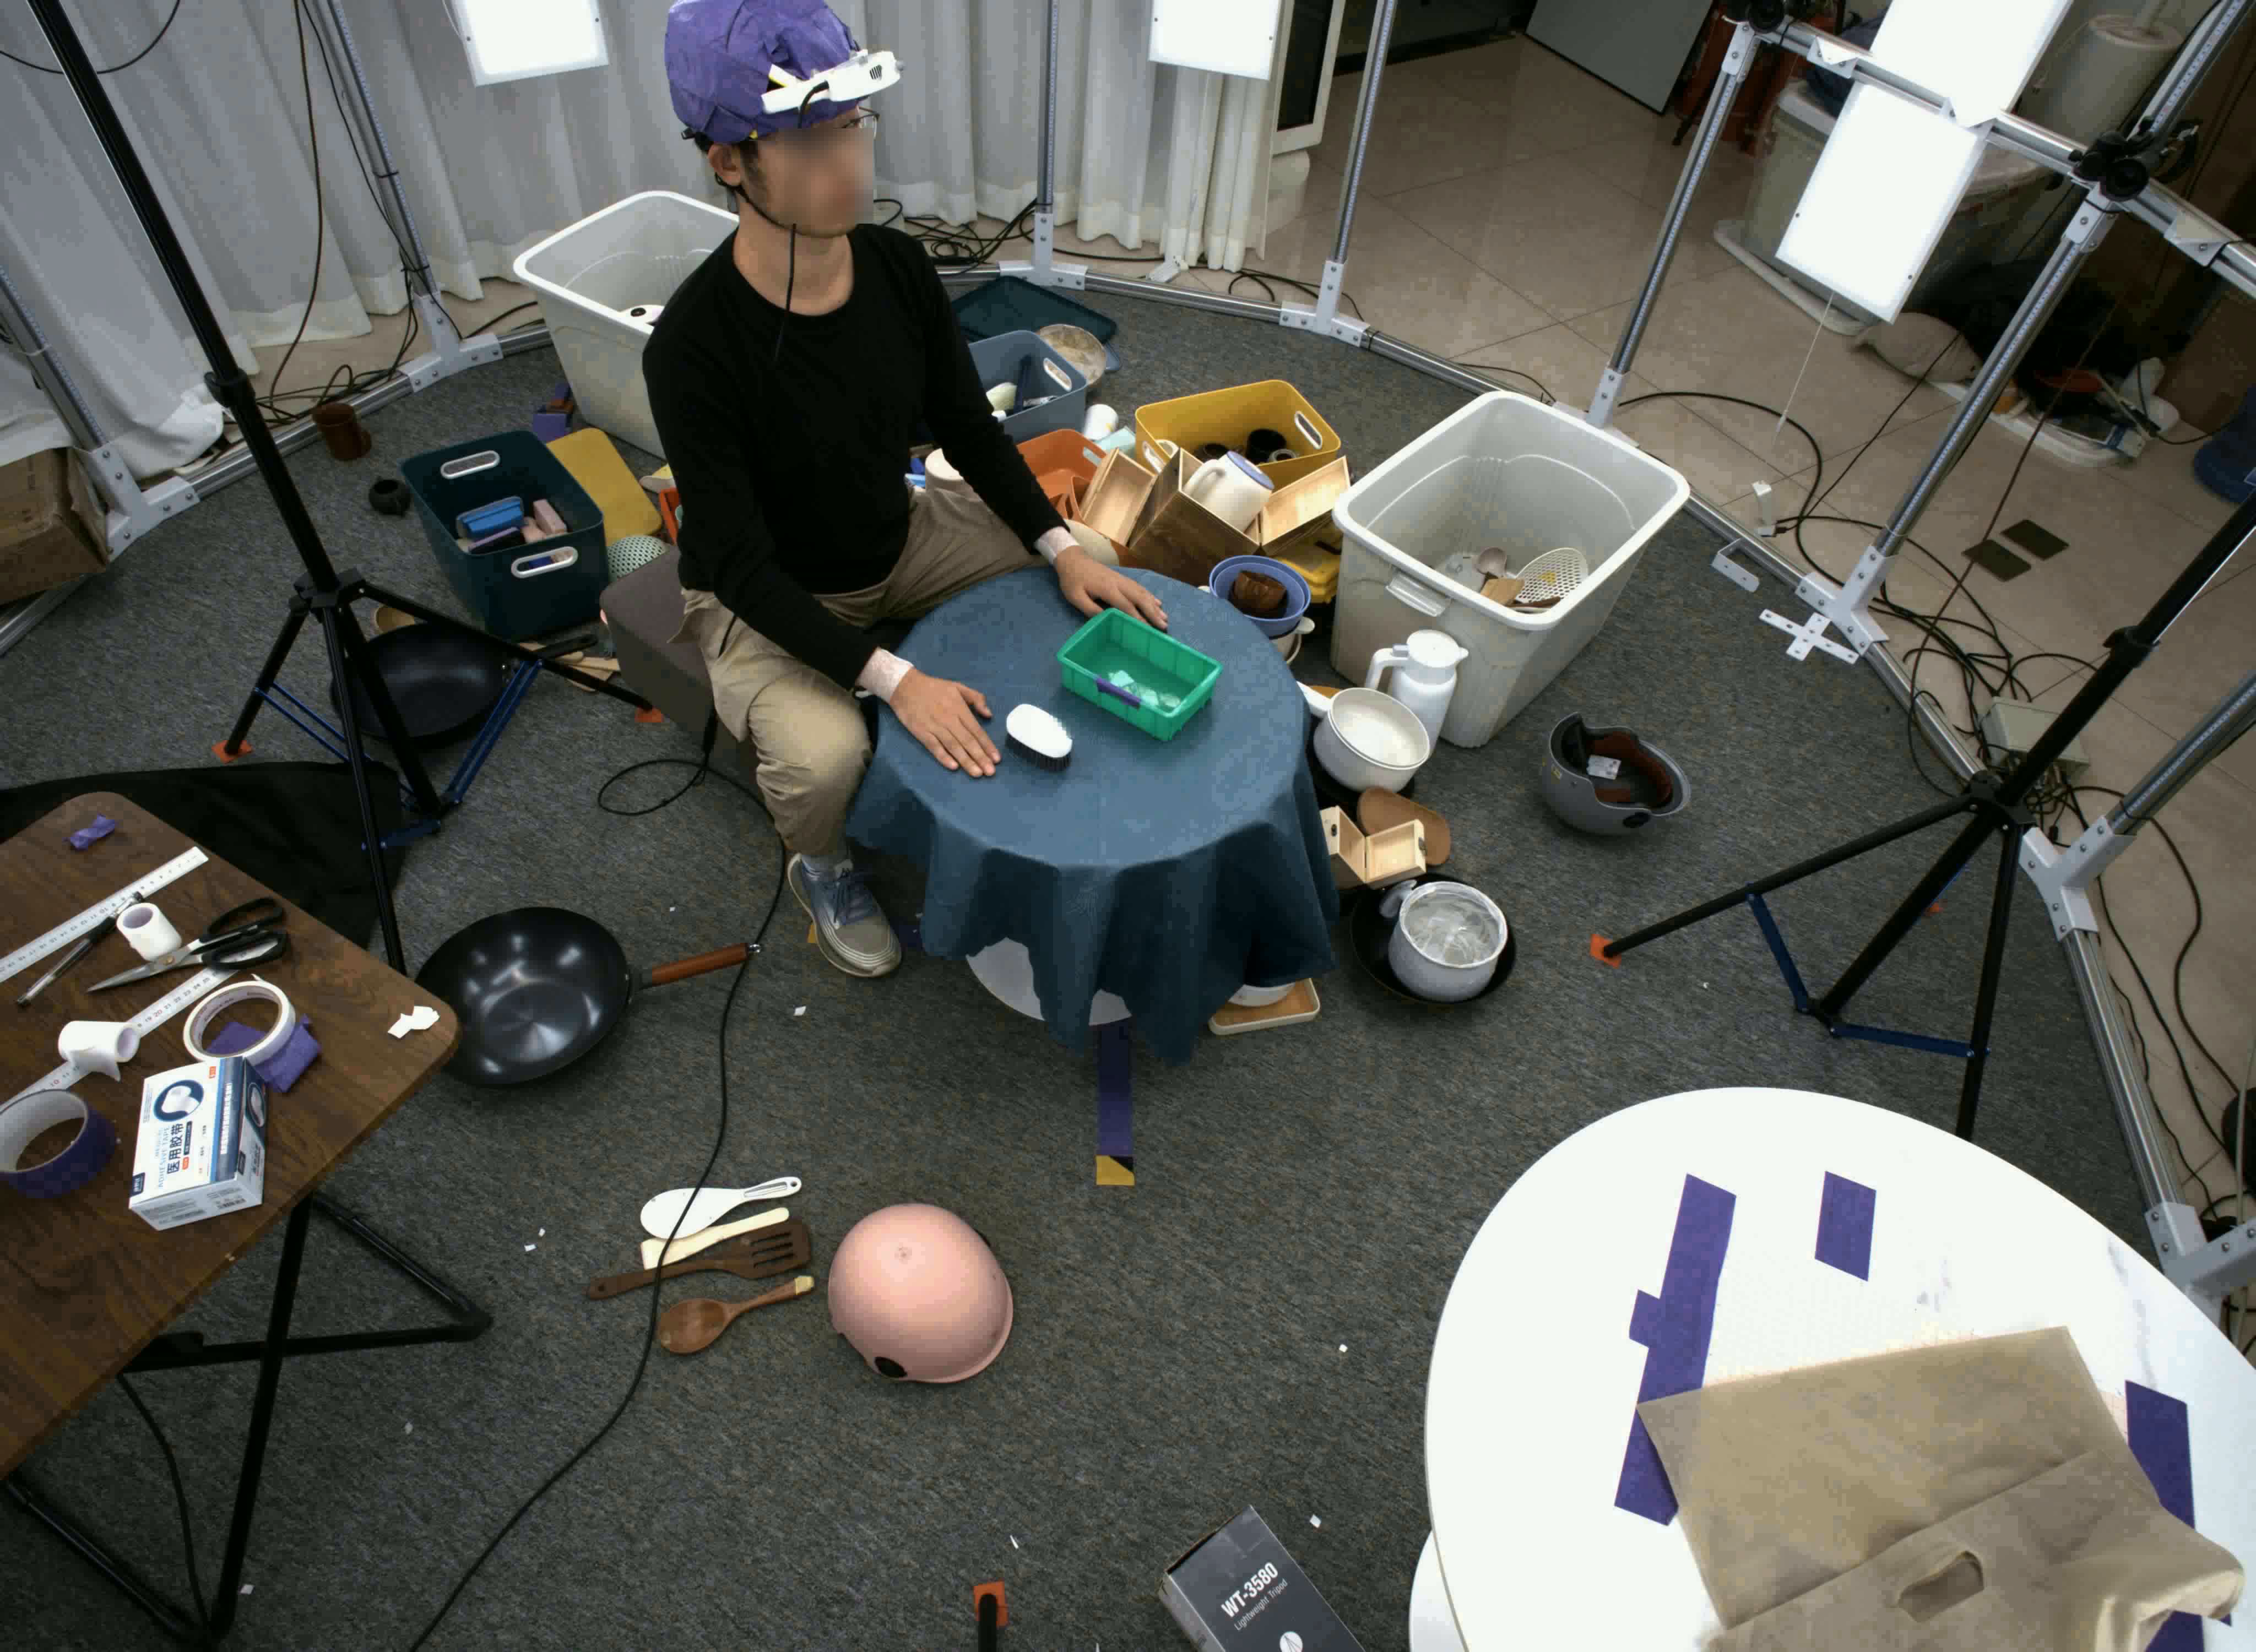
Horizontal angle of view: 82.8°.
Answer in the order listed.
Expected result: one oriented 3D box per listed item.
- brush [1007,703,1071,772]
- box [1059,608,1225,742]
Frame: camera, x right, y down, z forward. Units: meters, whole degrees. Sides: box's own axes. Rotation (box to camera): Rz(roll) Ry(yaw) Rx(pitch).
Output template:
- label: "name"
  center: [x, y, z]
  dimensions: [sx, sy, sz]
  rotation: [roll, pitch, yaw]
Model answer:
- label: "brush"
  center: [-0.120, -0.127, 1.724]
  dimensions: [0.100, 0.071, 0.051]
  rotation: [32, 55, 22]
- label: "box"
  center: [0.019, -0.212, 1.815]
  dimensions: [0.212, 0.064, 0.140]
  rotation: [30, 55, 18]
